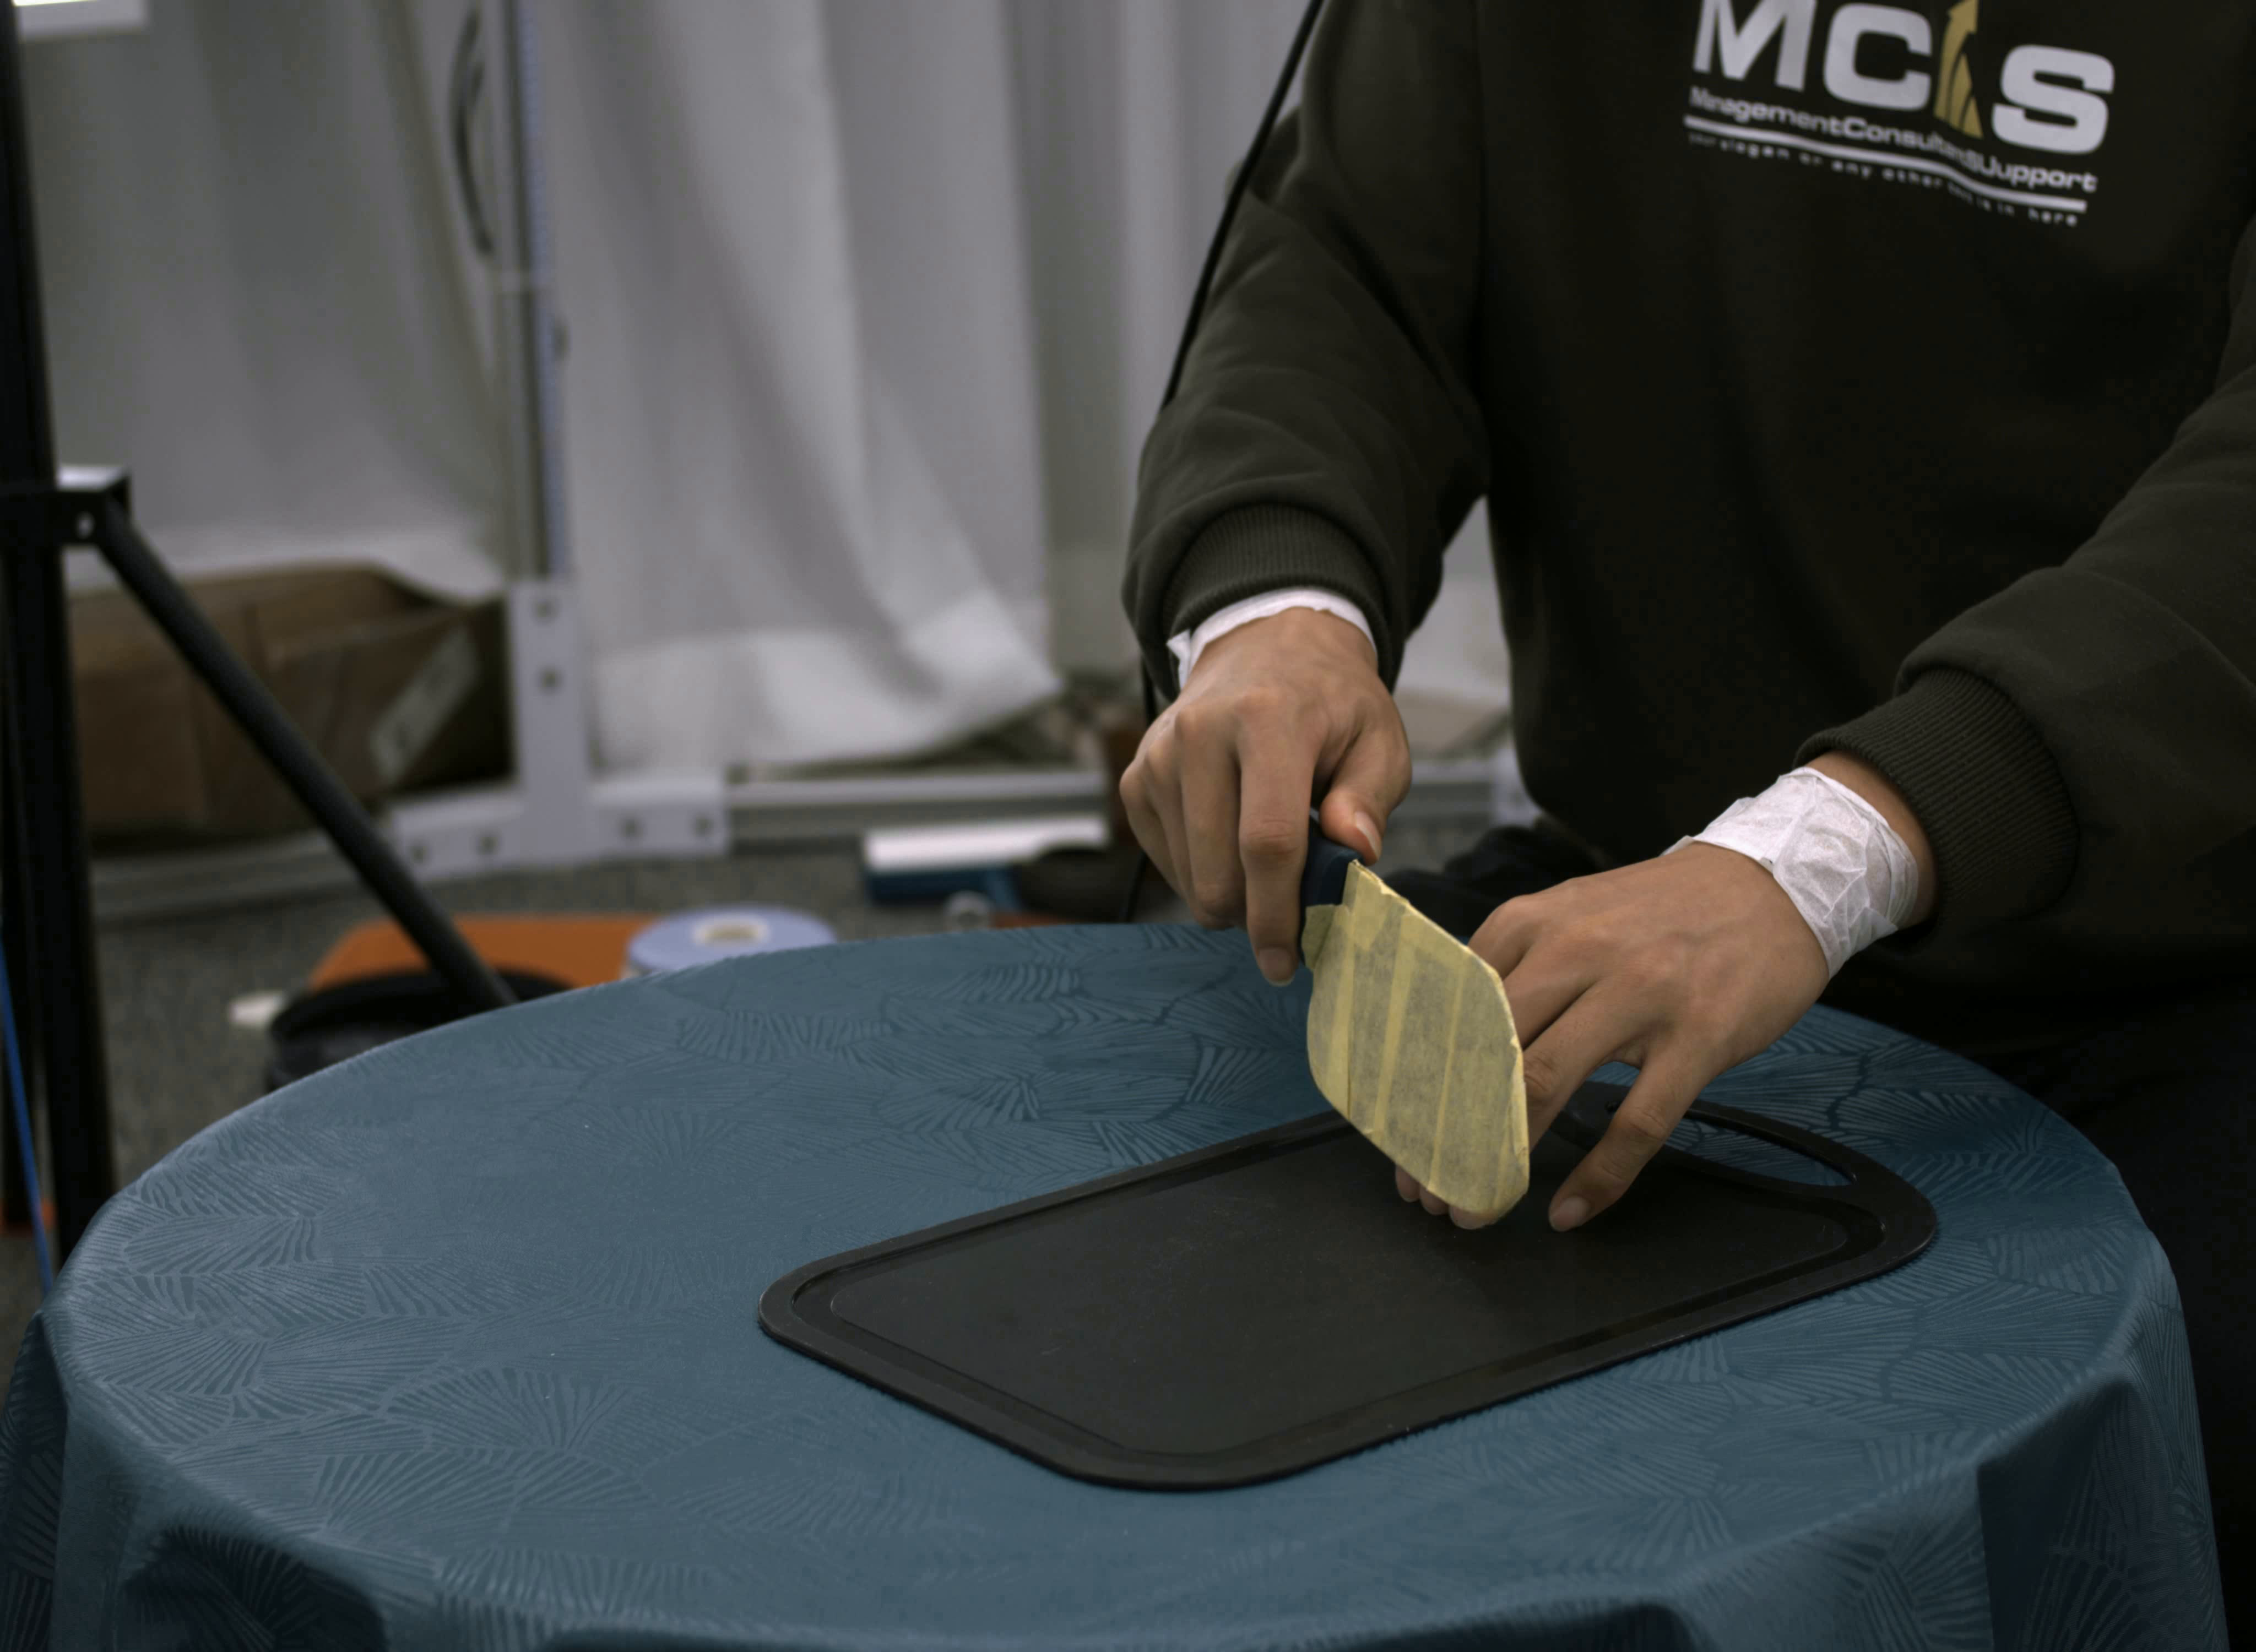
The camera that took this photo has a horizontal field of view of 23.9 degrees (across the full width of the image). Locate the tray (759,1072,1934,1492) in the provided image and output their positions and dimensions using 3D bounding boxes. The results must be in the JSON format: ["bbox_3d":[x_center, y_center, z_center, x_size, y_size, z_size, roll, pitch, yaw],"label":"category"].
[{"bbox_3d":[0.069,0.120,1.495,0.318,0.010,0.216,-14,19,-34],"label":"tray"}]

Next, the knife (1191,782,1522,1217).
[{"bbox_3d":[0.066,0.046,1.568,0.027,0.081,0.294,6,16,-18],"label":"knife"}]
